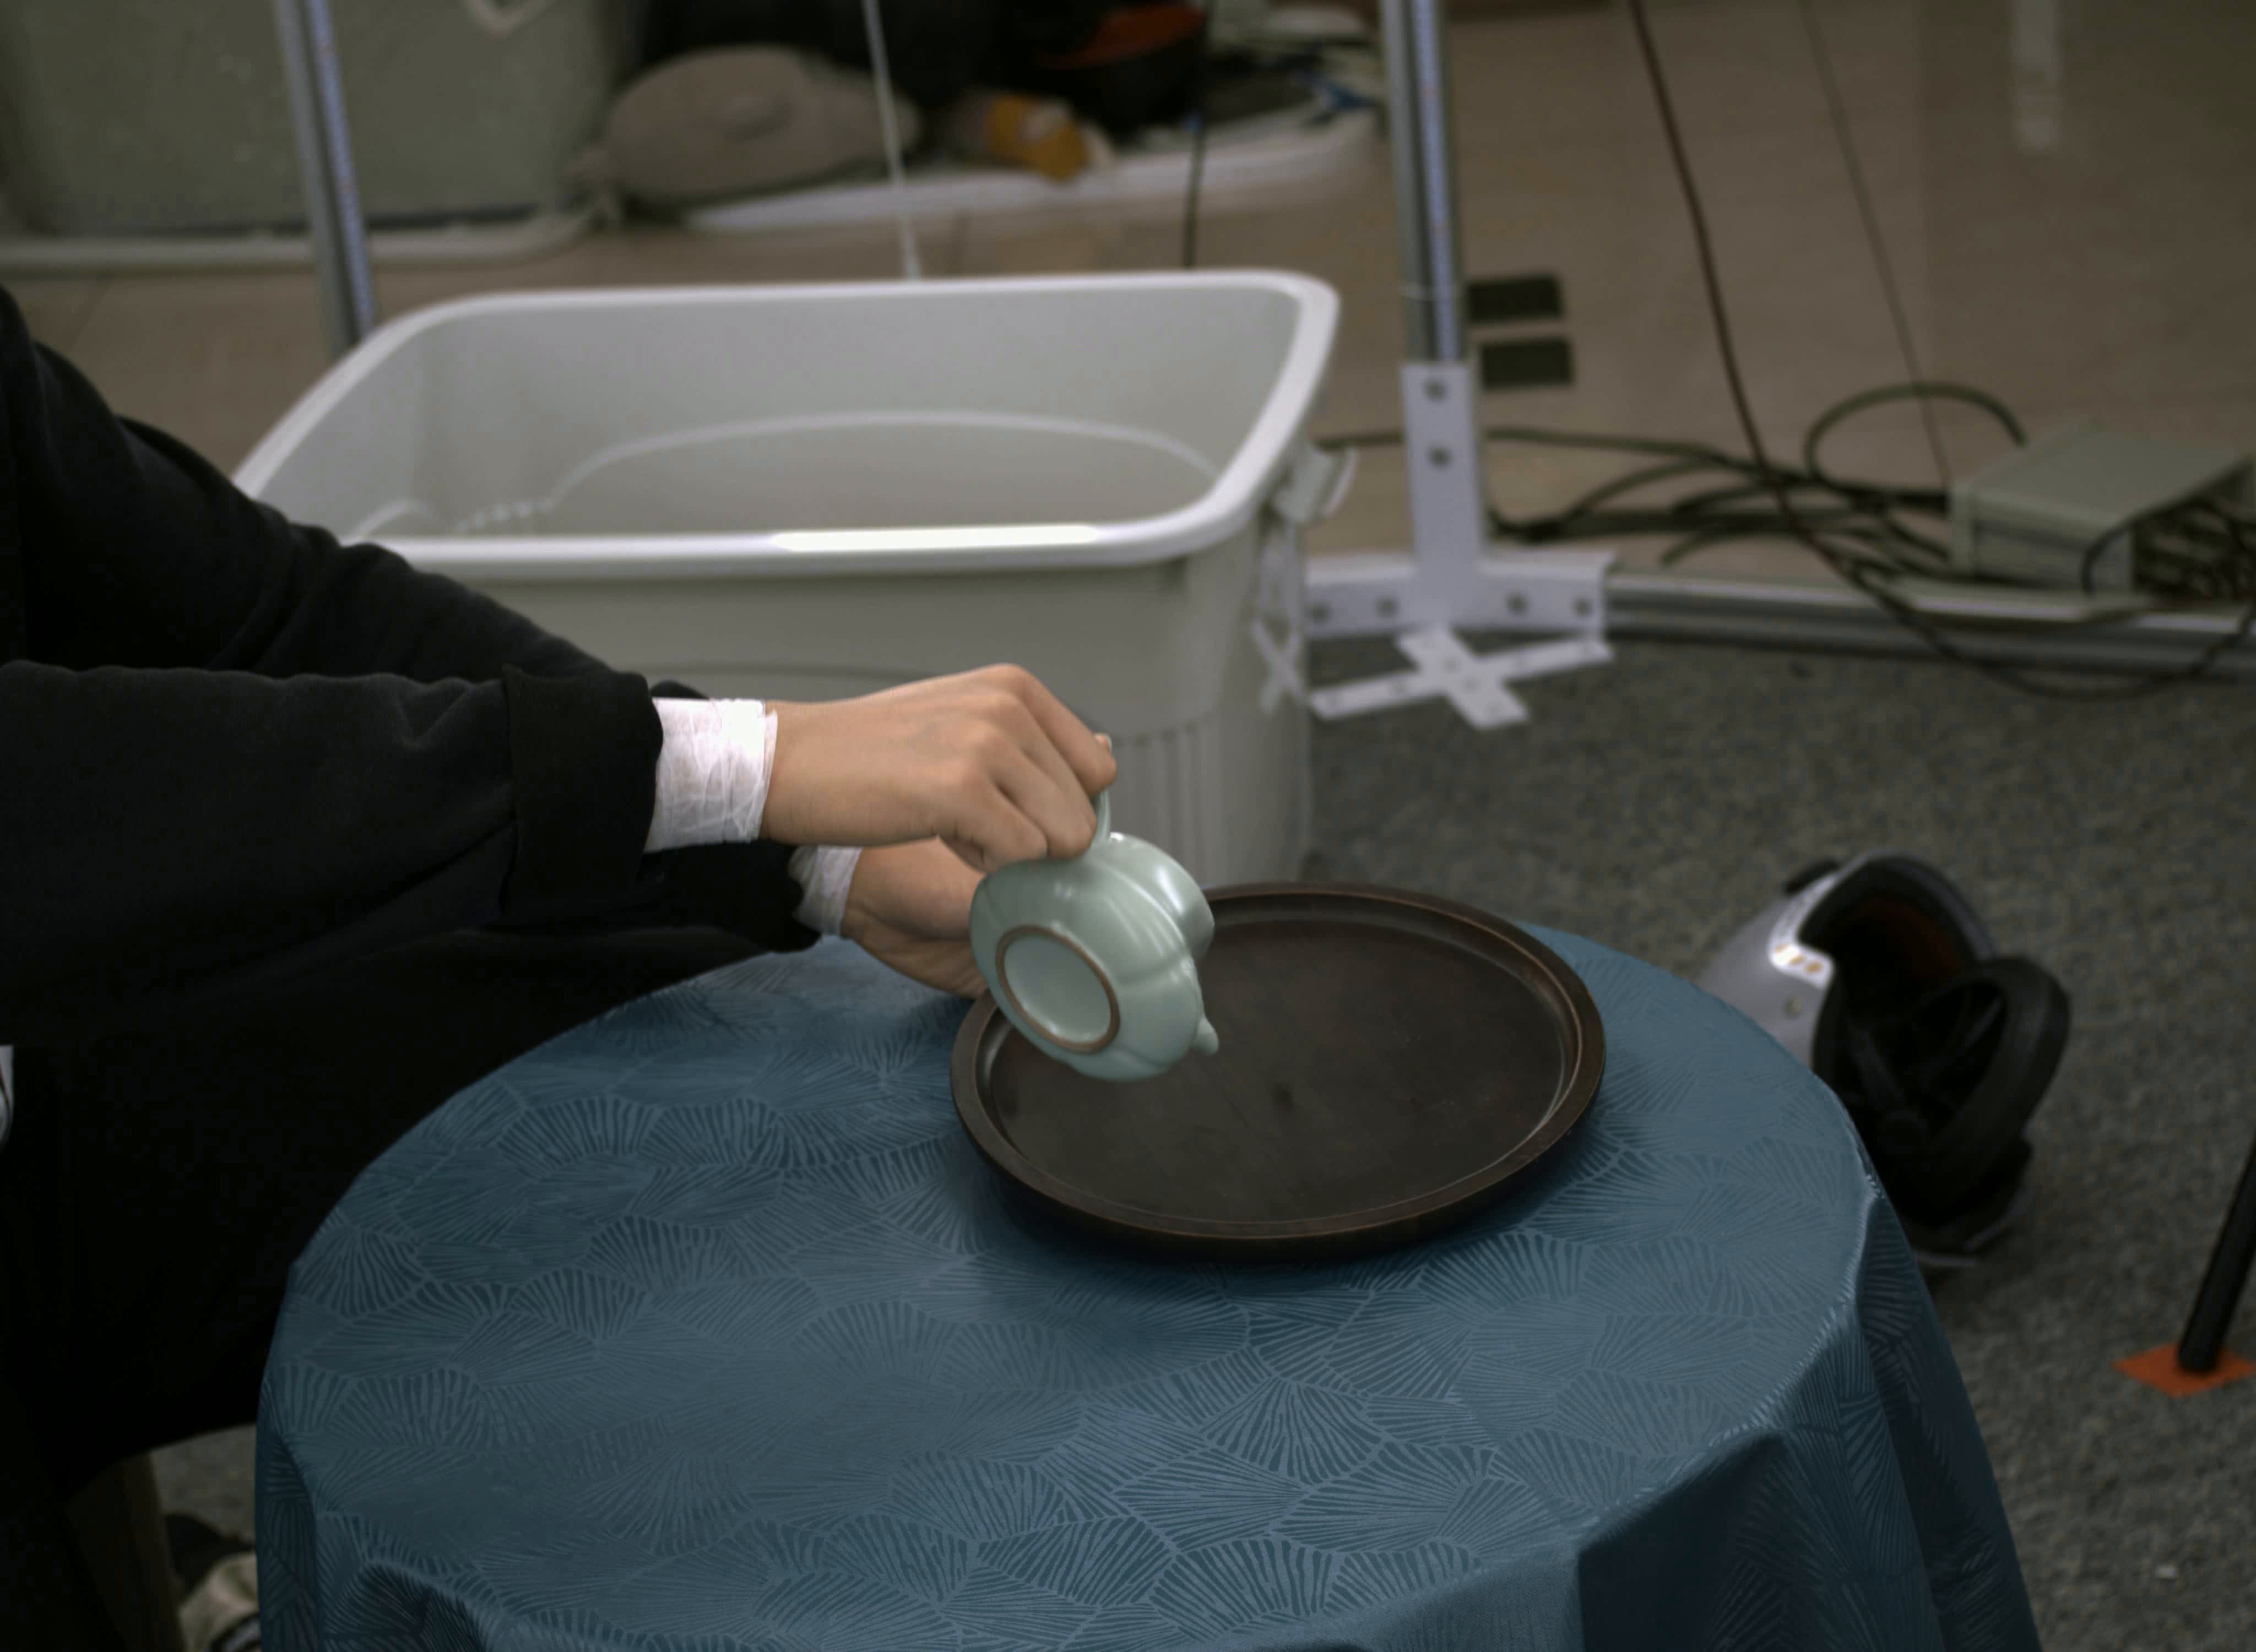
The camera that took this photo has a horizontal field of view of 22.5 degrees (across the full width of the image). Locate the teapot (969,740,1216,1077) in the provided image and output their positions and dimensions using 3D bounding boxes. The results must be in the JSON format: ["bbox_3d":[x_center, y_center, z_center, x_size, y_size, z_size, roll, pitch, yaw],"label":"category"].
[{"bbox_3d":[-0.010,0.037,2.026,0.096,0.139,0.060,4,34,43],"label":"teapot"}]

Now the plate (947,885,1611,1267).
[{"bbox_3d":[0.058,0.094,2.175,0.254,0.029,0.250,-2,32,2],"label":"plate"}]
